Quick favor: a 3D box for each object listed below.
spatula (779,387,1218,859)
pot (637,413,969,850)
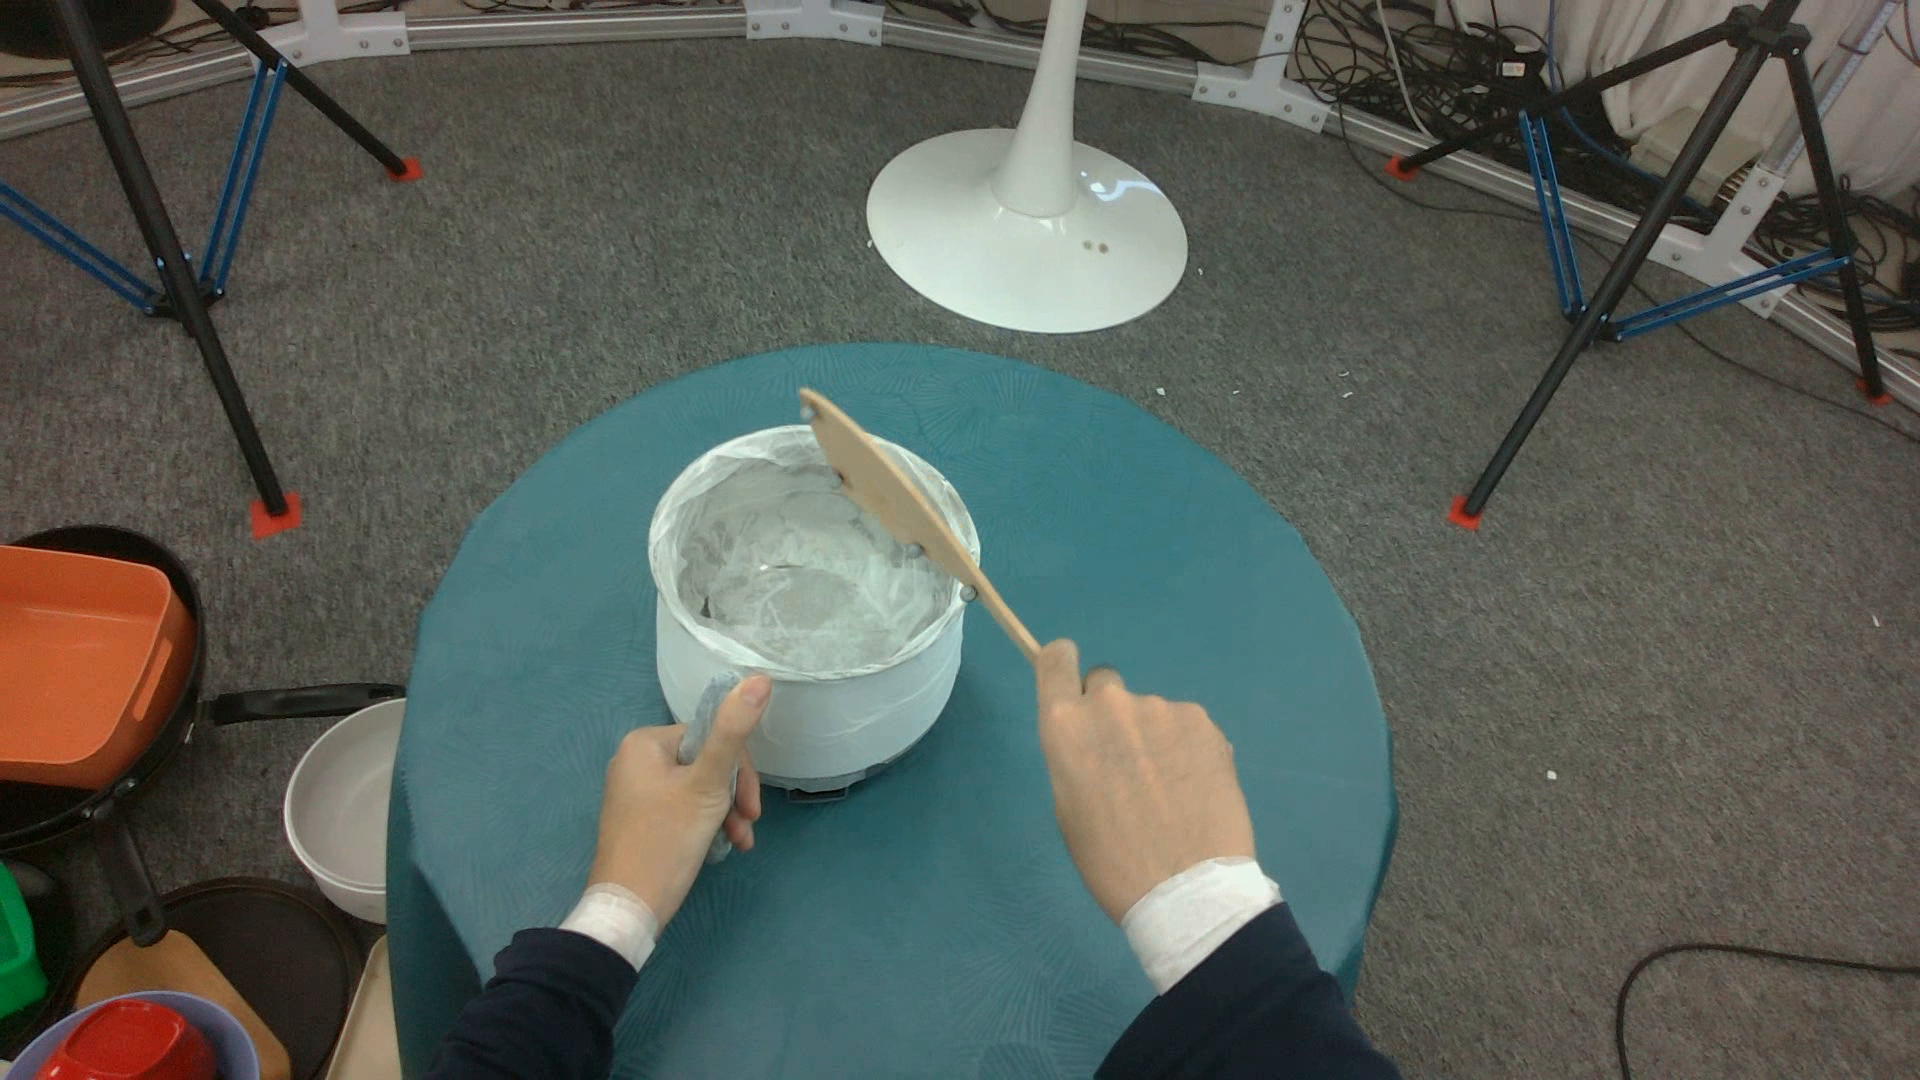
[{"bbox_3d":[0.009,0.034,0.657,0.016,0.079,0.328,-34,54,-13],"label":"spatula"},{"bbox_3d":[-0.100,0.054,0.765,0.178,0.136,0.235,20,48,8],"label":"pot"}]
